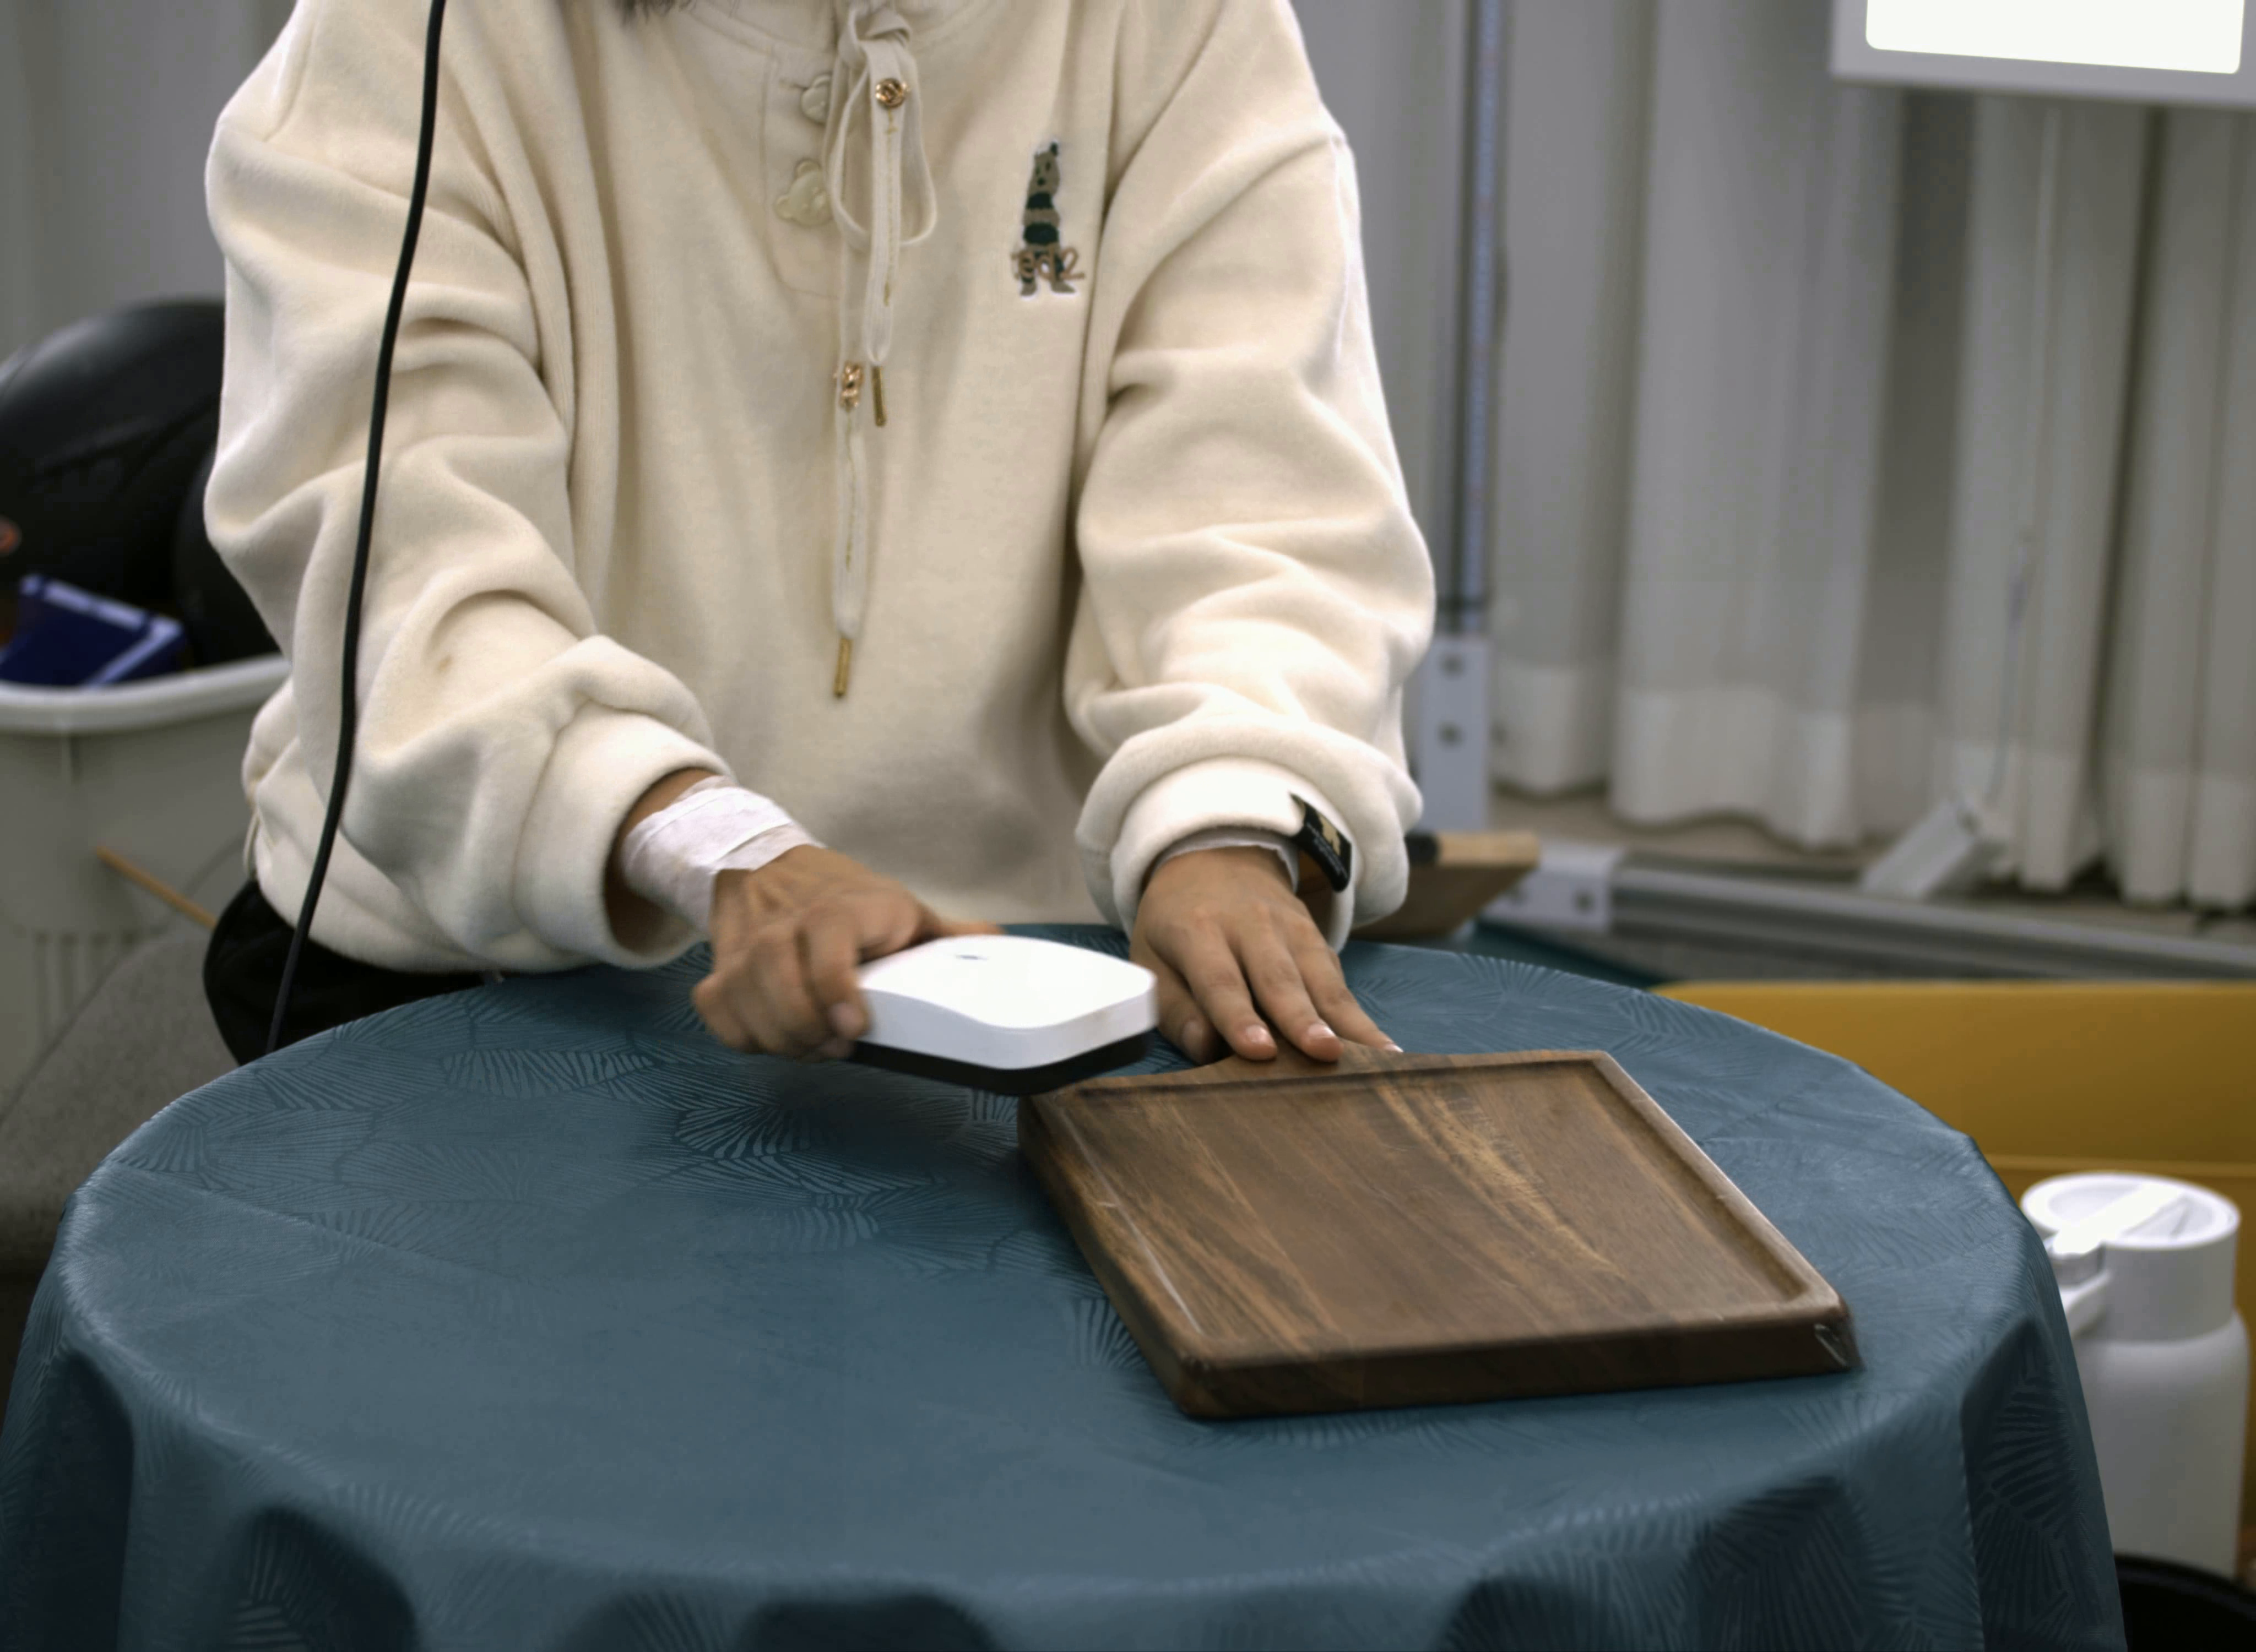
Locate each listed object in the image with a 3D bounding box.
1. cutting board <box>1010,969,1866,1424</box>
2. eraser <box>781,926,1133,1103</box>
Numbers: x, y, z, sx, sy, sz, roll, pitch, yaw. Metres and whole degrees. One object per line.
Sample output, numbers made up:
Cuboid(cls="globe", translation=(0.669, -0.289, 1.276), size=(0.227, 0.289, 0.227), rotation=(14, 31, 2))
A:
Cuboid(cls="cutting board", translation=(0.075, 0.104, 1.614), size=(0.201, 0.023, 0.349), rotation=(-3, 16, -13))
Cuboid(cls="eraser", translation=(-0.053, 0.057, 1.642), size=(0.063, 0.035, 0.130), rotation=(-16, 15, -32))
